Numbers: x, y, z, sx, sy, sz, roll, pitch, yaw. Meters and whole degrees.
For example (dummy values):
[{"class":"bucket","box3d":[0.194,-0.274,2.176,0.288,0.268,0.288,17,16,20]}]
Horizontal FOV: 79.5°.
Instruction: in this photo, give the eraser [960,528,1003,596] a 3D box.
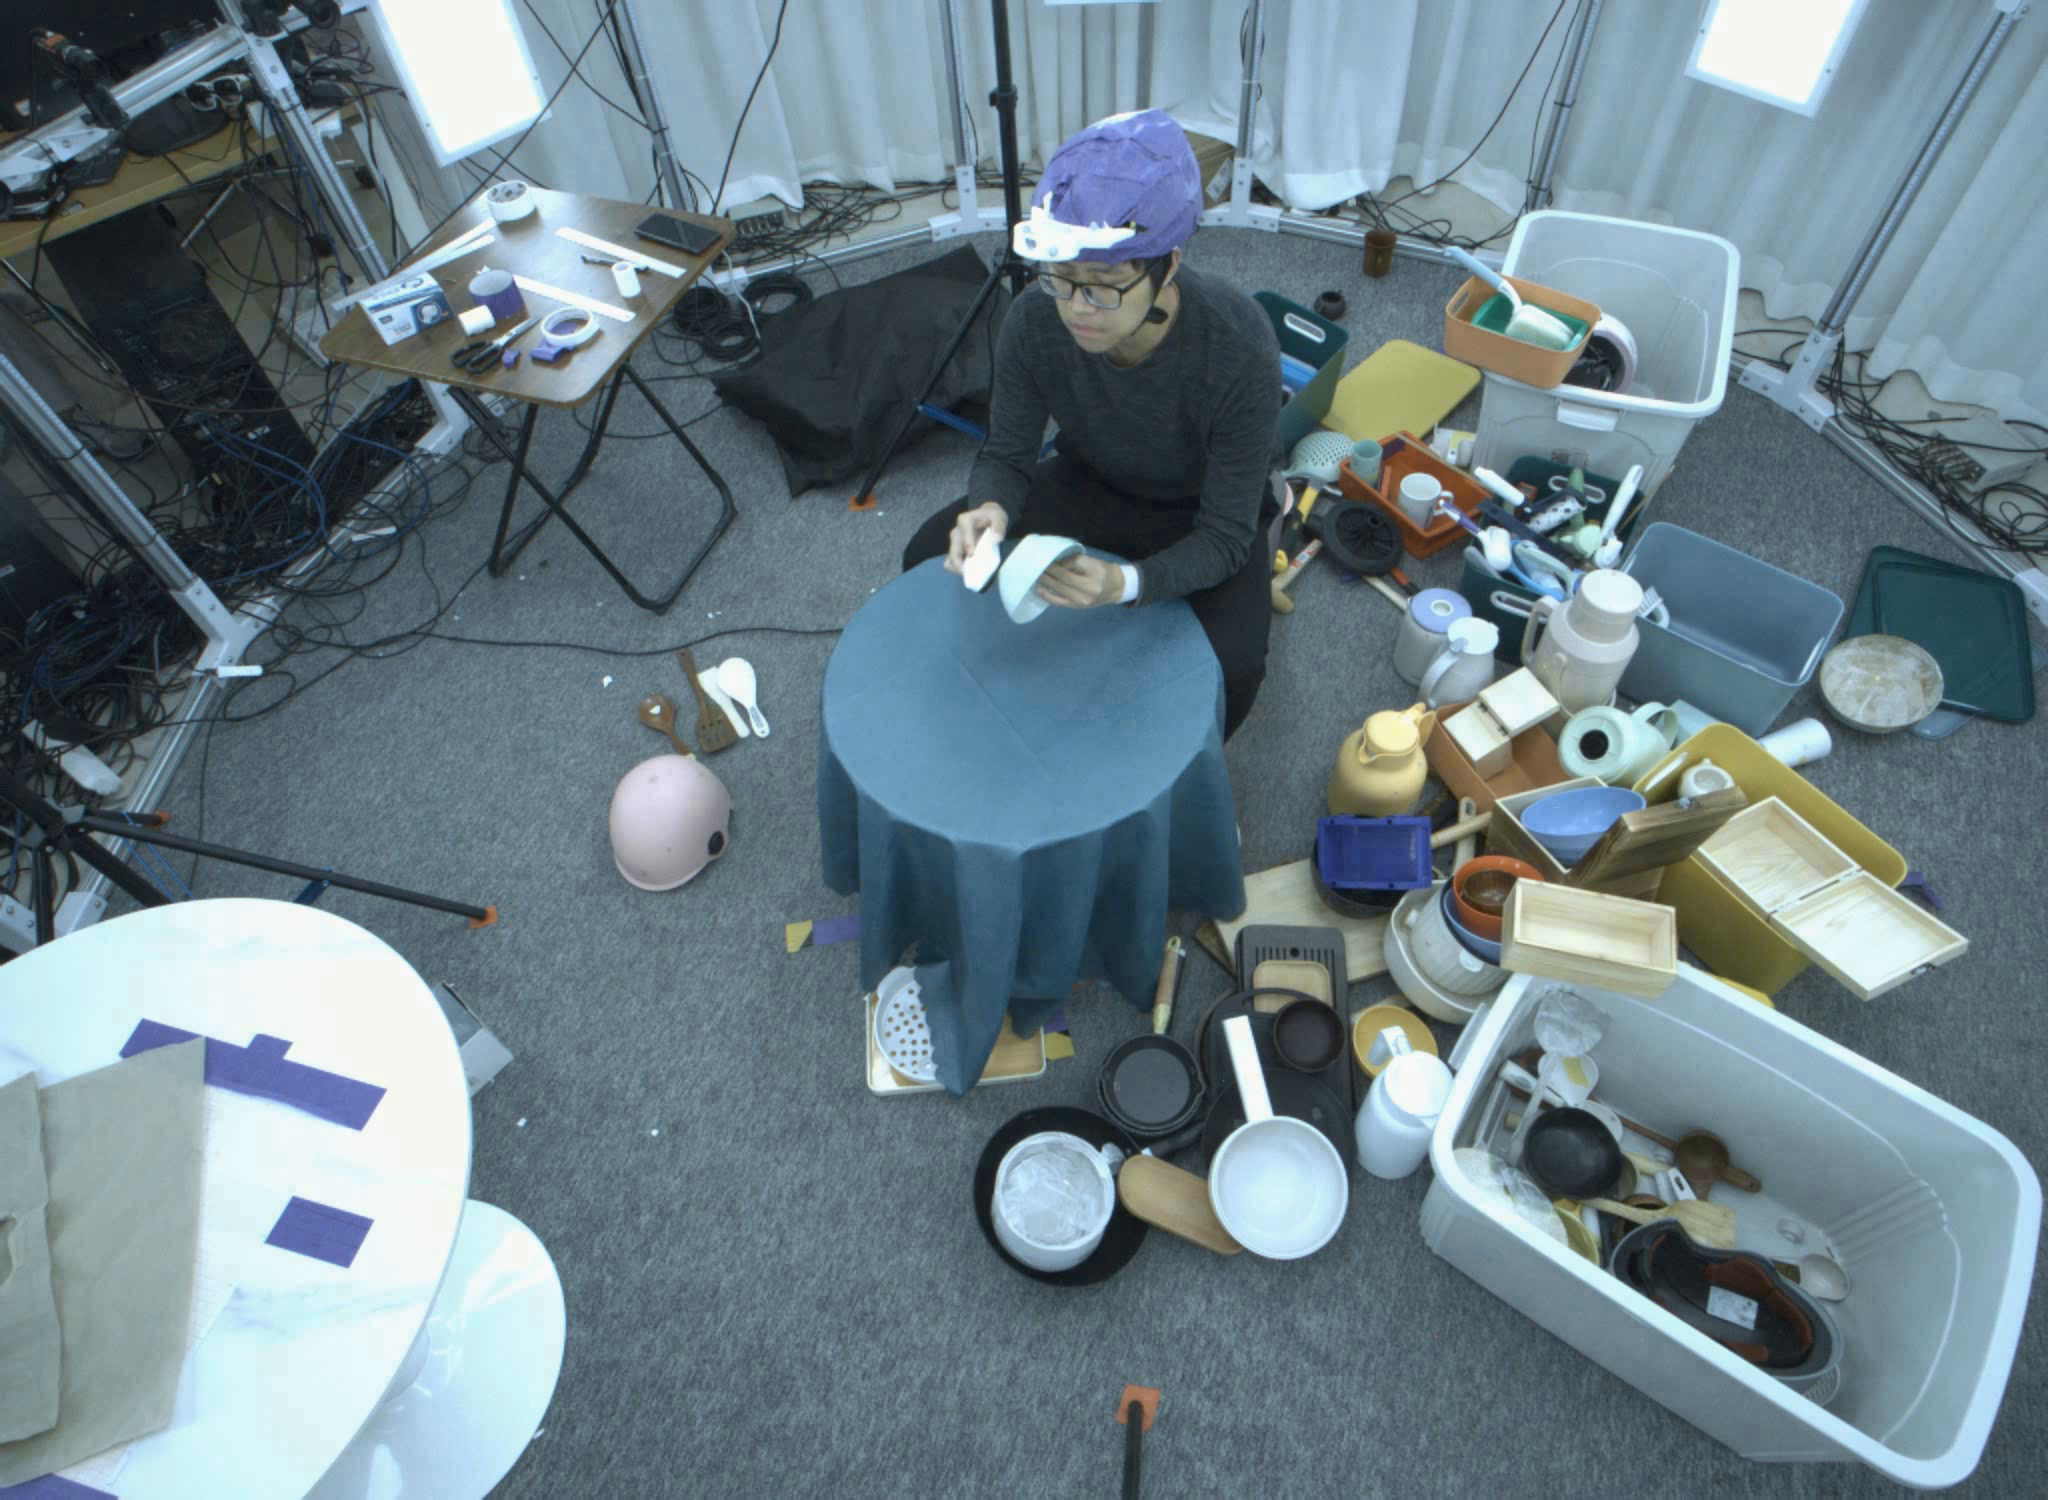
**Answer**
[{"class":"eraser","box3d":[-0.060,-0.266,1.711,0.035,0.063,0.129,33,23,-23]}]

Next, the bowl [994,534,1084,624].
[{"class":"bowl","box3d":[0.011,-0.245,1.678,0.058,0.152,0.152,42,66,13]}]
